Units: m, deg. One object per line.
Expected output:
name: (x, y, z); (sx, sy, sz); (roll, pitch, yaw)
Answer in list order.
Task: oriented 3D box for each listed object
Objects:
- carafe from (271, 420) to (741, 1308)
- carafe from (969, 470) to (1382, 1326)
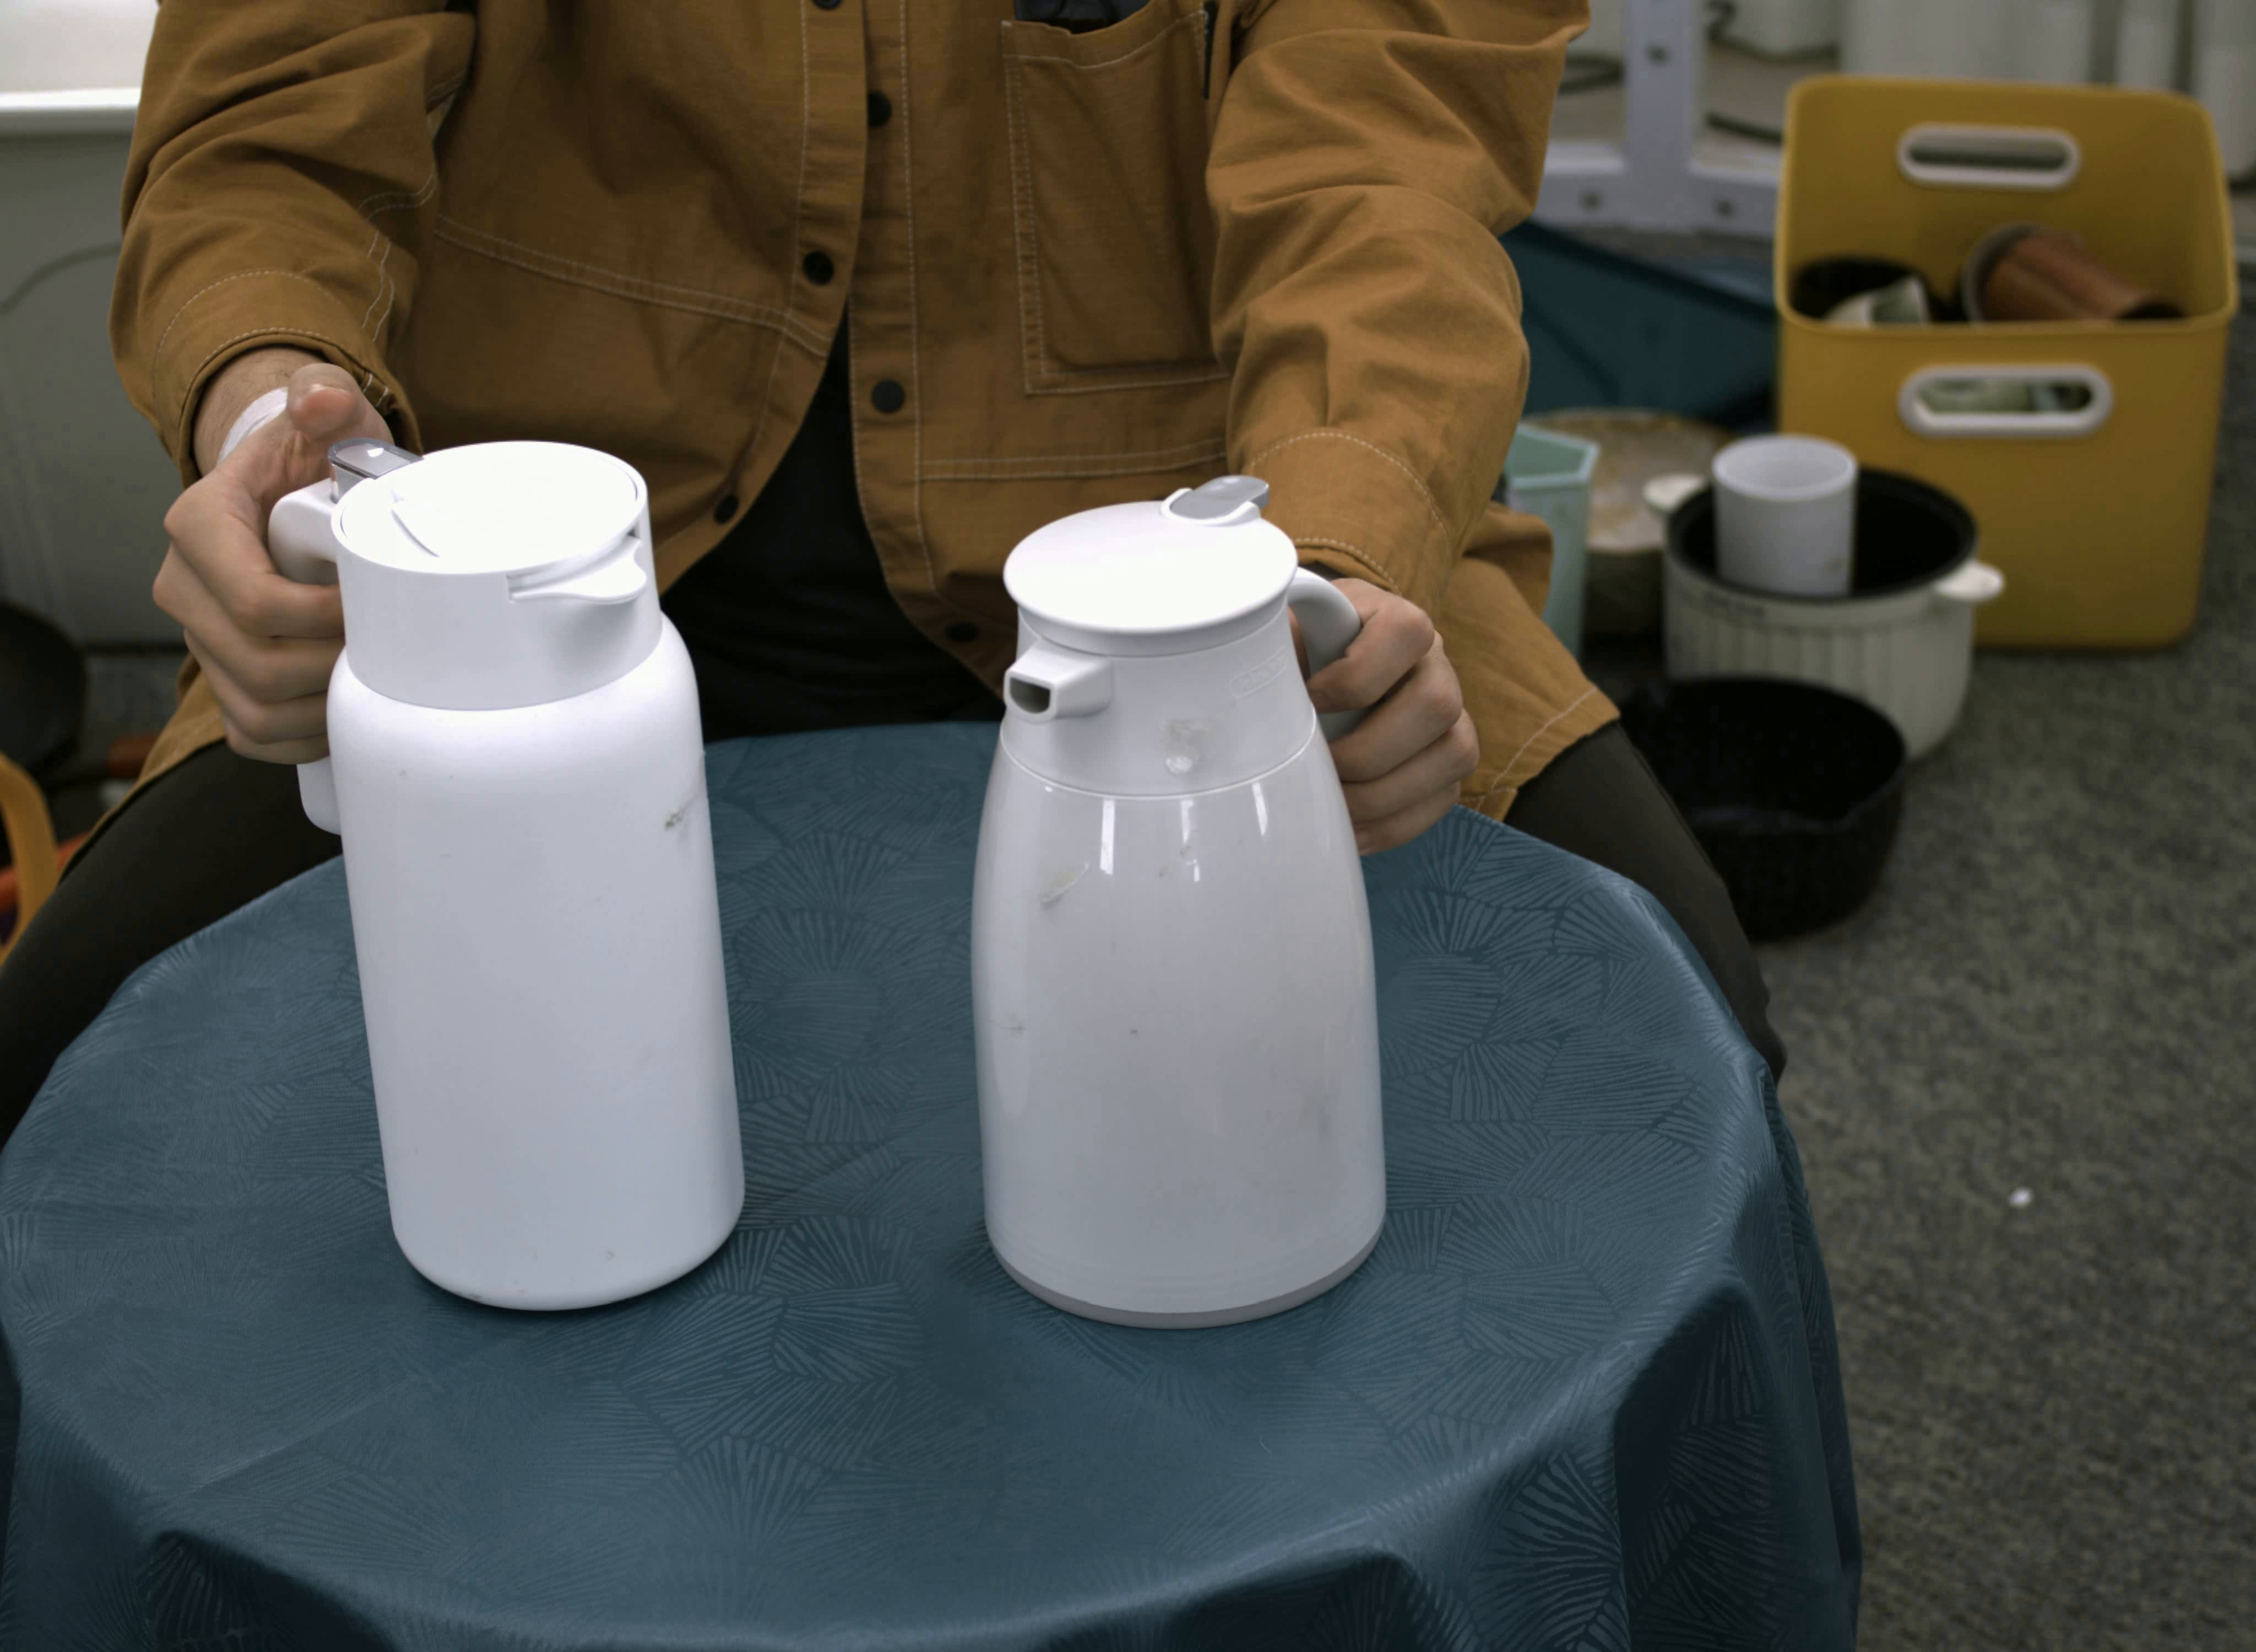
carafe: (-0.204, 0.010, 1.807); (0.172, 0.266, 0.125); (21, 37, 40)
carafe: (0.023, 0.012, 1.802); (0.132, 0.246, 0.170); (15, 31, 33)
